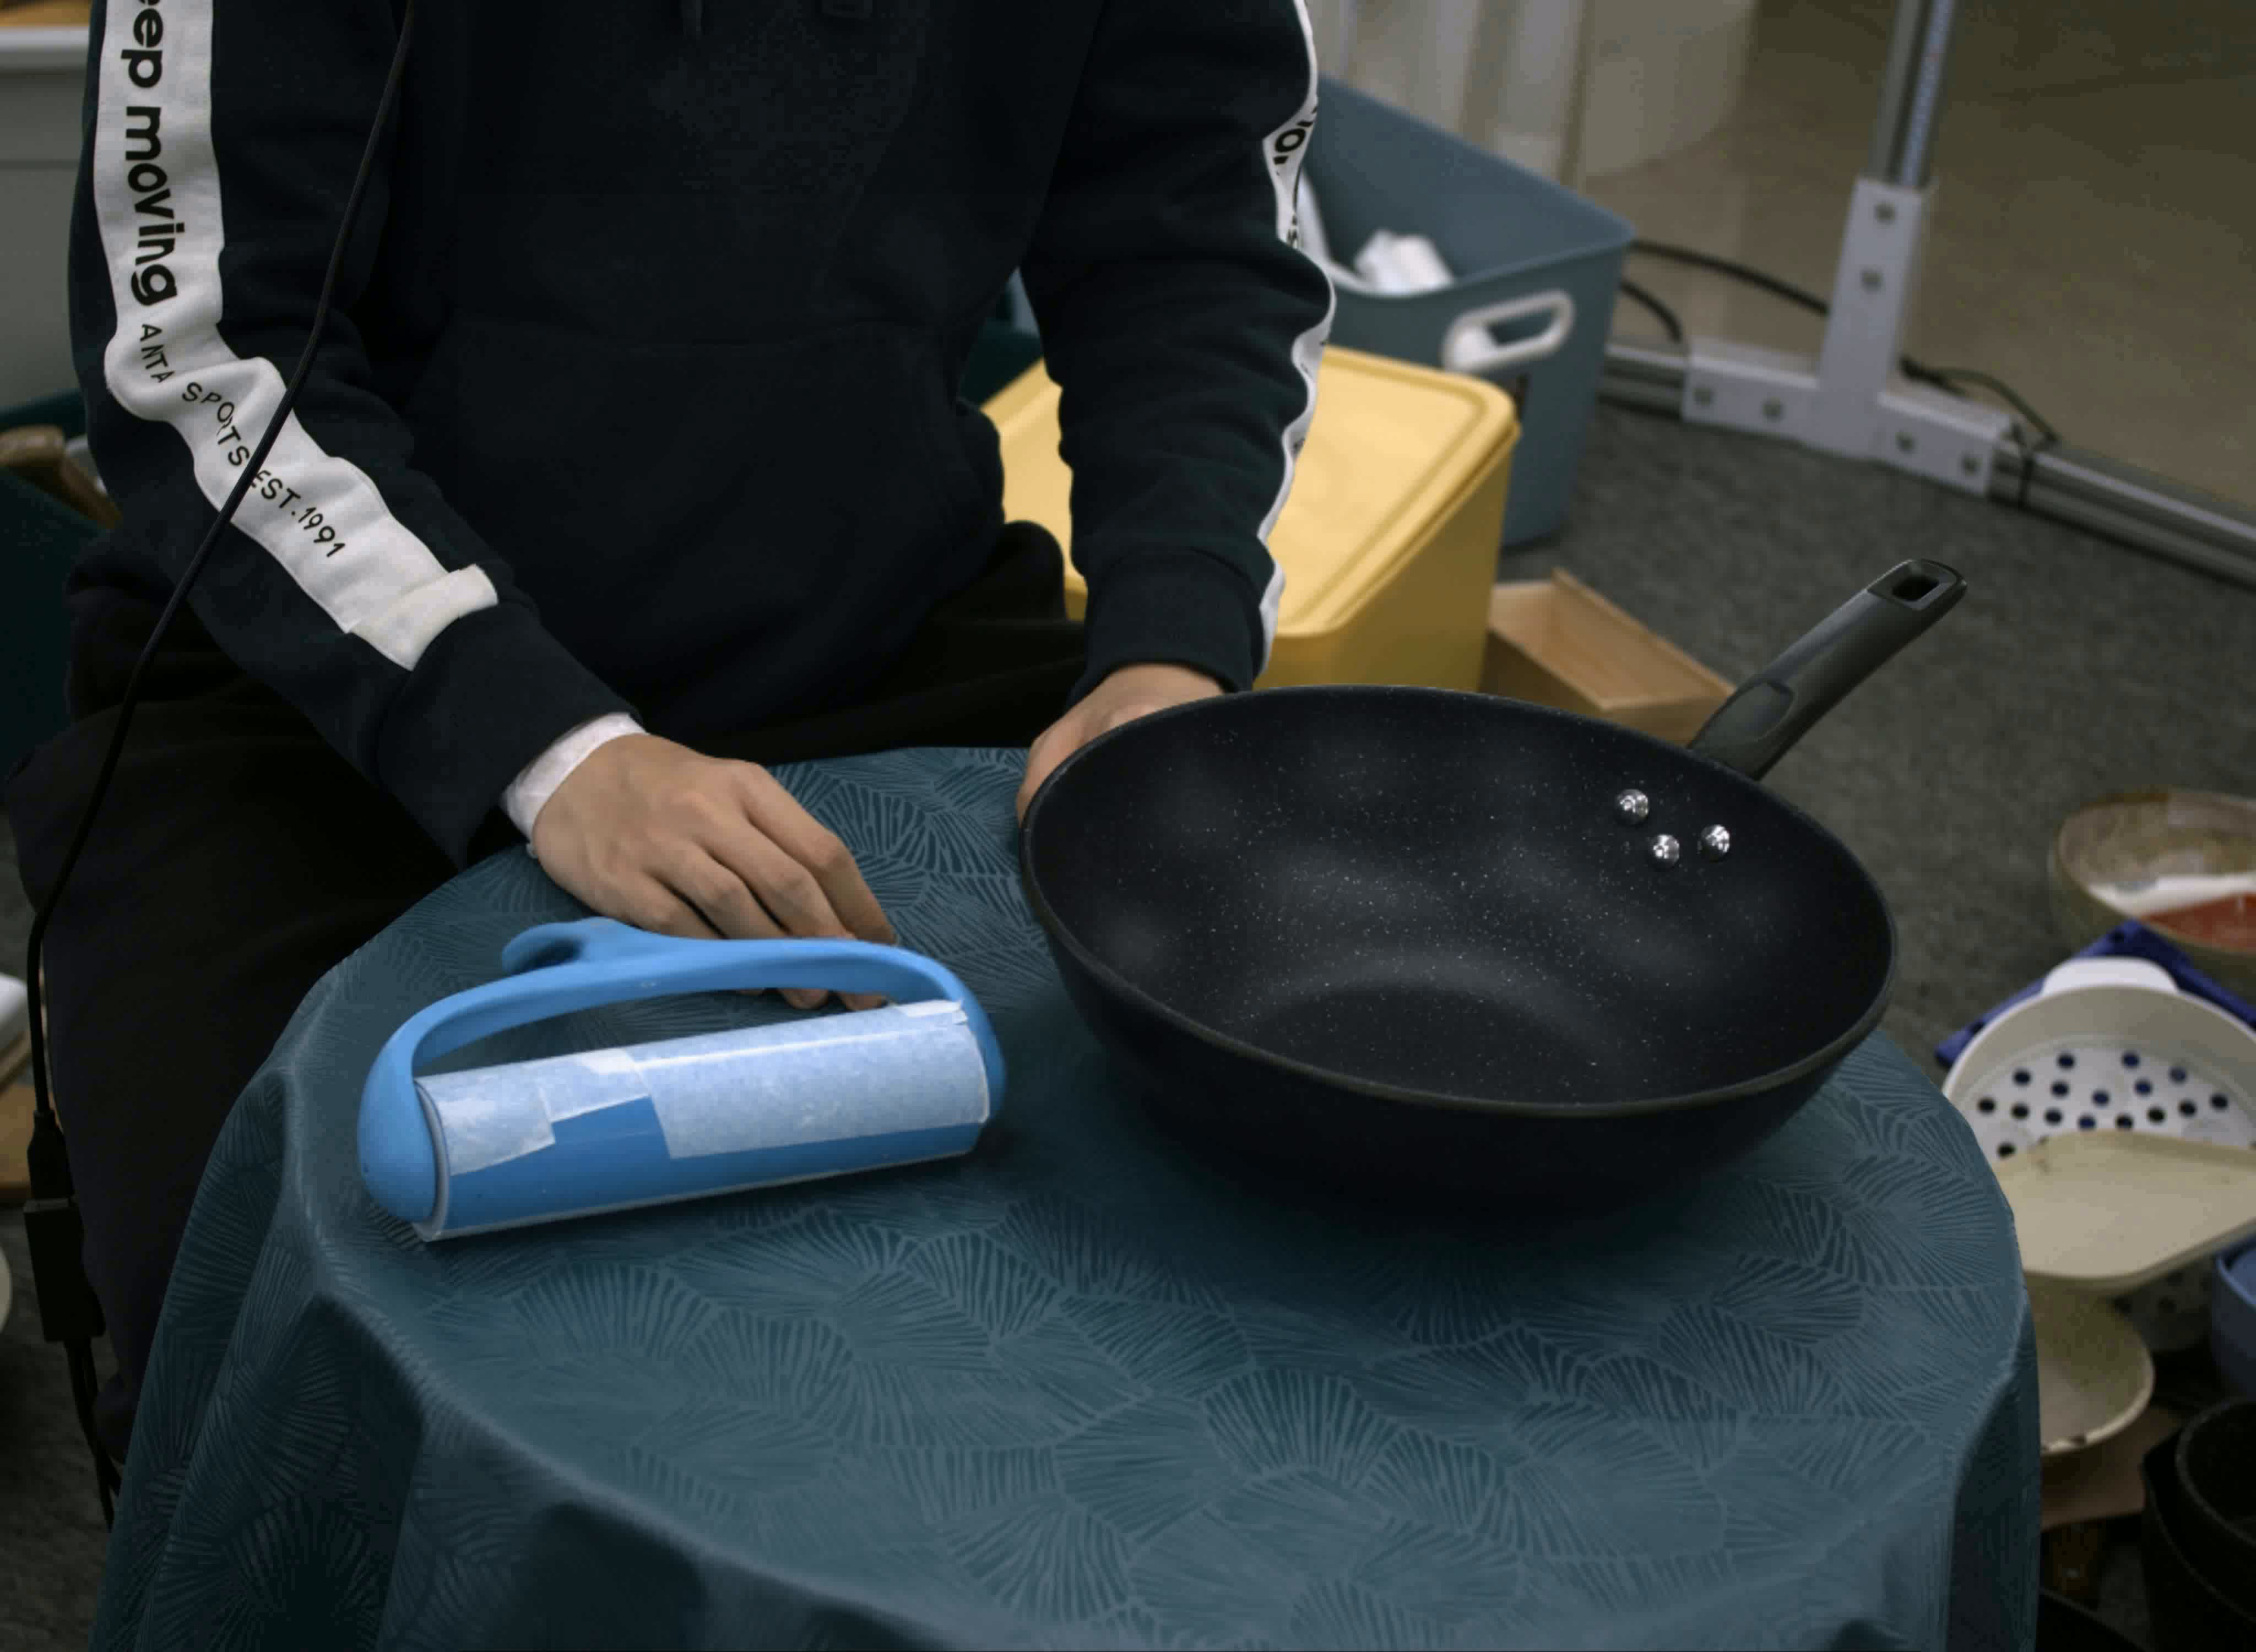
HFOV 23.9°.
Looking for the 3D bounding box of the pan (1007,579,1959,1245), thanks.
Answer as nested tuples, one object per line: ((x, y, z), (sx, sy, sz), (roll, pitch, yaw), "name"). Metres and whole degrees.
((0.159, 0.026, 1.910), (0.312, 0.111, 0.475), (26, 33, 30), "pan")

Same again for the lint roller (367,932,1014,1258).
((-0.171, 0.071, 1.803), (0.227, 0.067, 0.182), (-12, 33, -28), "lint roller")
